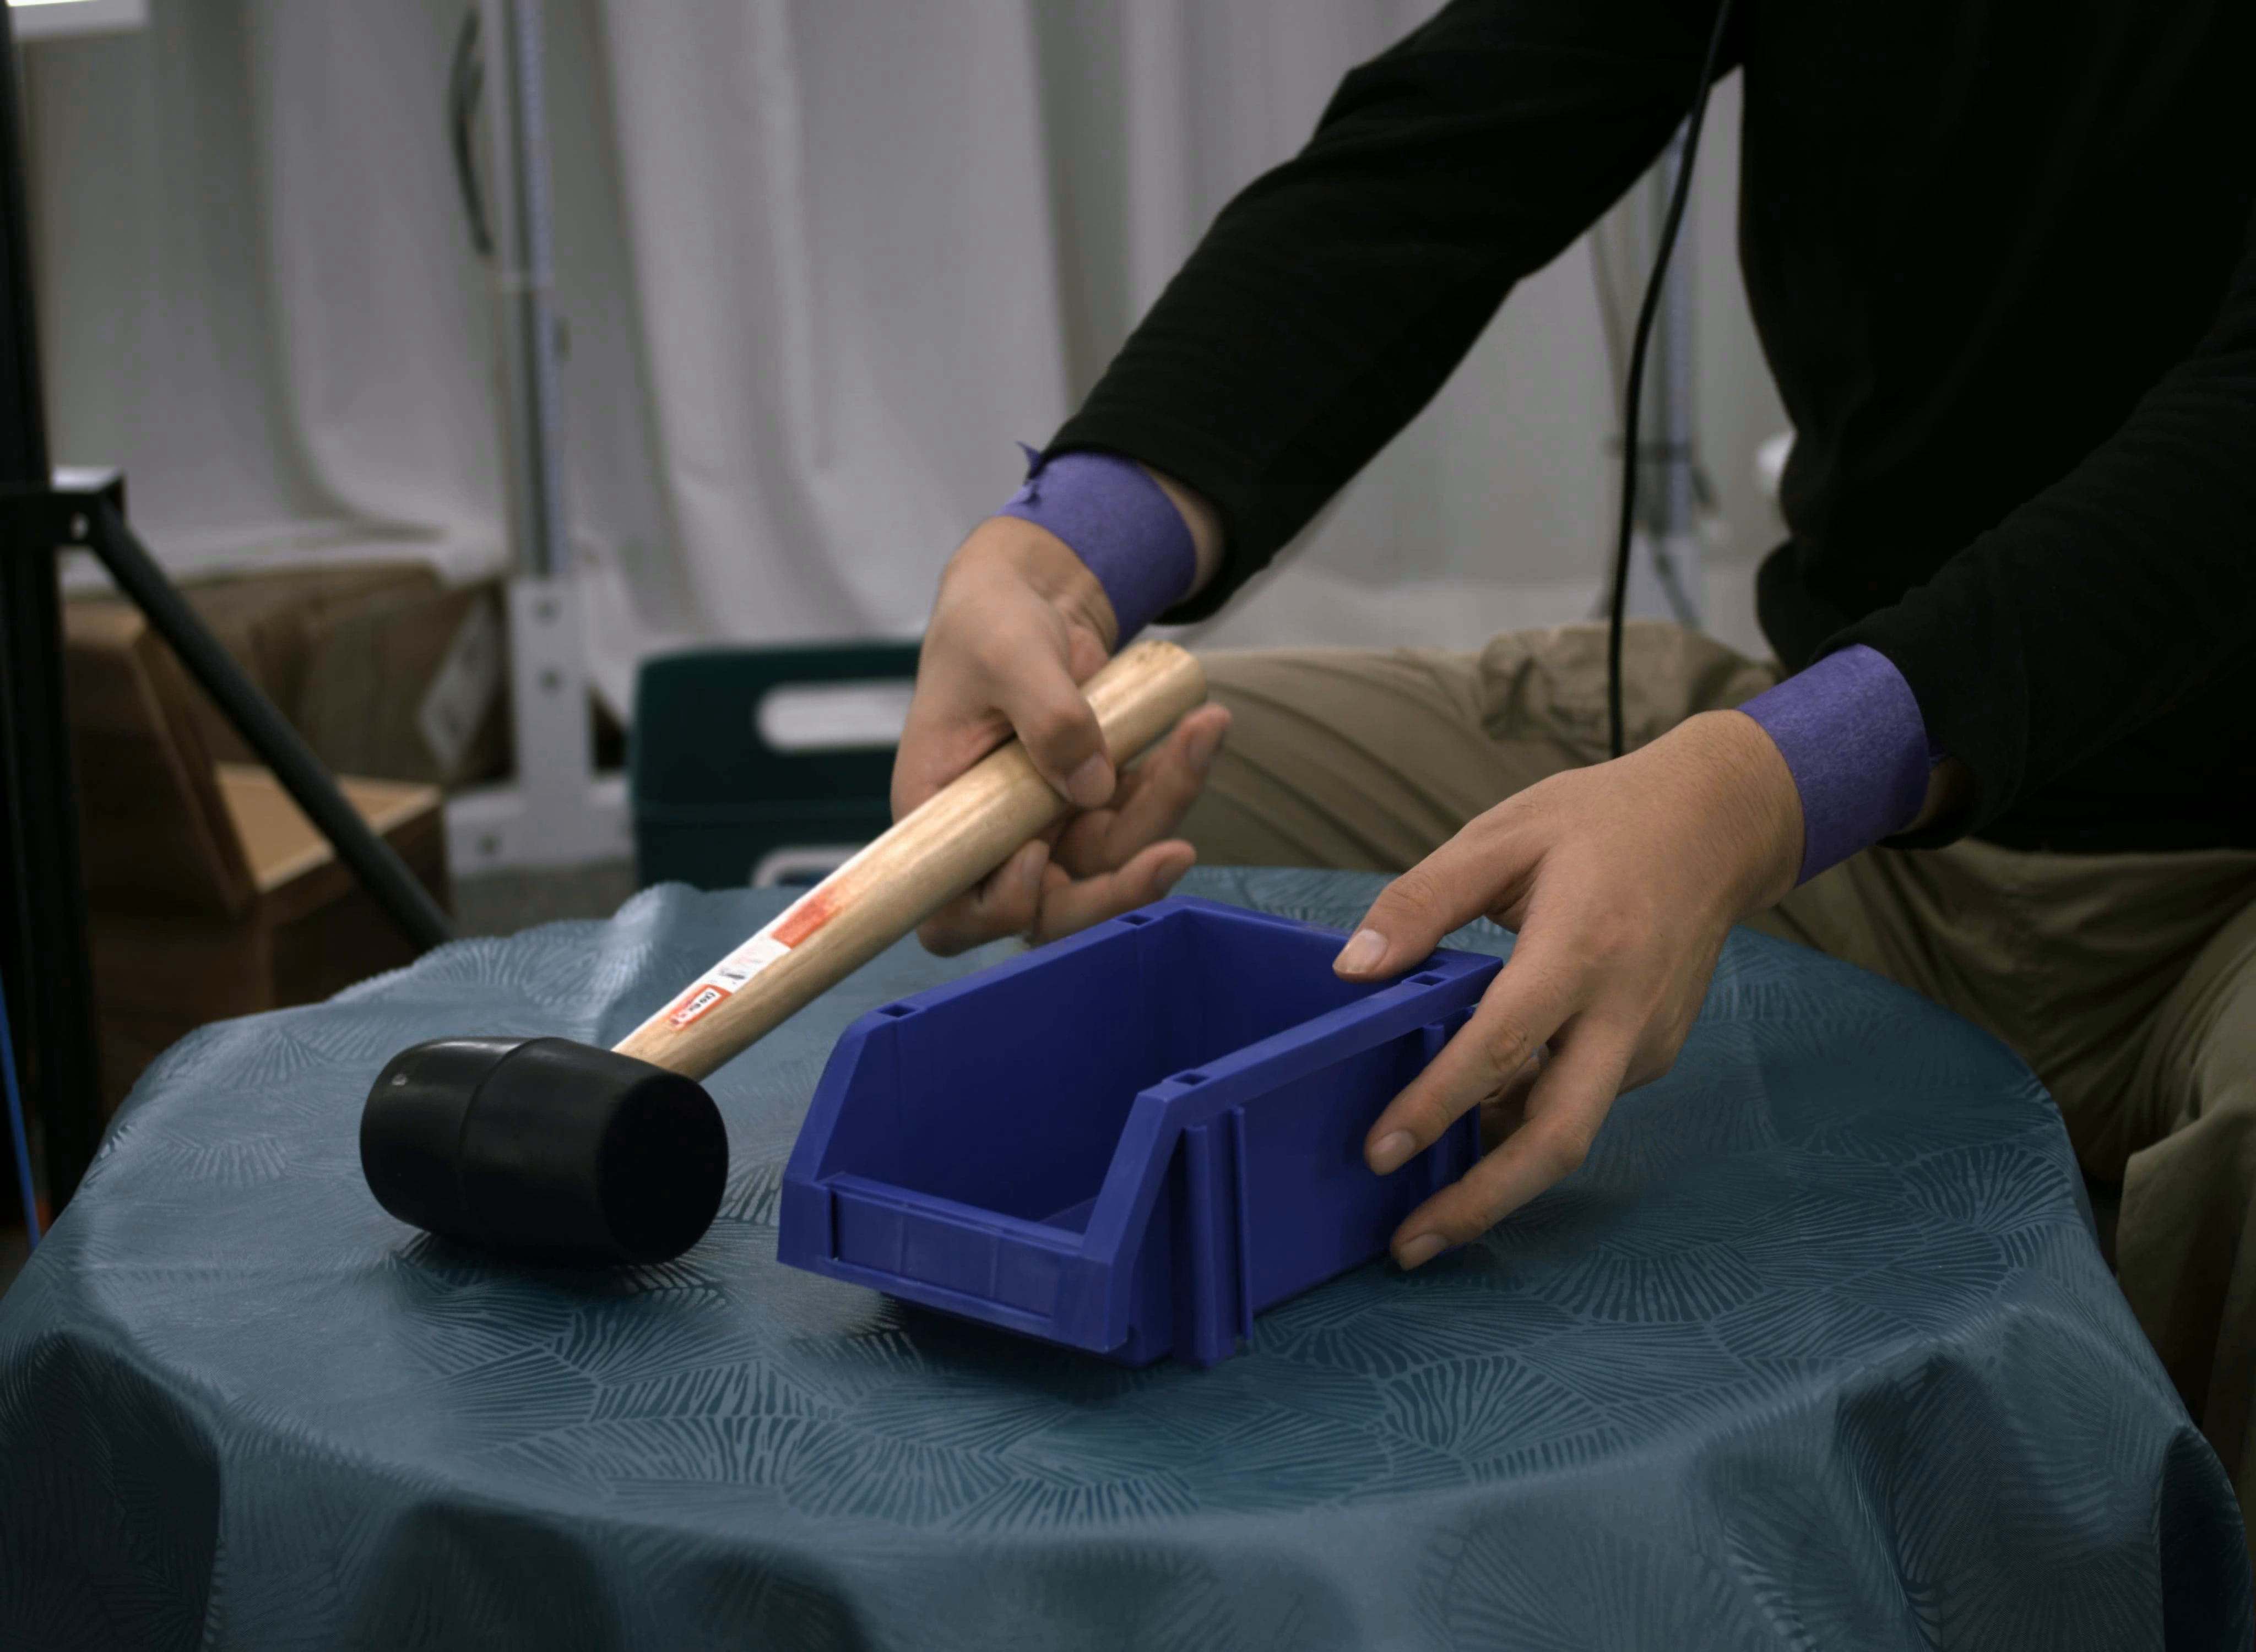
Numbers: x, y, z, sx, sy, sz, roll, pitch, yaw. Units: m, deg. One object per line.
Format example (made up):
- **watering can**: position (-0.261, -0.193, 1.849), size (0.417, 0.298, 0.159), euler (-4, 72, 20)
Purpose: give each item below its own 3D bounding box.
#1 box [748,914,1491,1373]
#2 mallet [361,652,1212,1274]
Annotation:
- **box**: position (0.001, 0.090, 1.471), size (0.127, 0.082, 0.175), euler (12, 18, 41)
- **mallet**: position (-0.087, 0.024, 1.607), size (0.104, 0.064, 0.334), euler (9, 36, 39)
